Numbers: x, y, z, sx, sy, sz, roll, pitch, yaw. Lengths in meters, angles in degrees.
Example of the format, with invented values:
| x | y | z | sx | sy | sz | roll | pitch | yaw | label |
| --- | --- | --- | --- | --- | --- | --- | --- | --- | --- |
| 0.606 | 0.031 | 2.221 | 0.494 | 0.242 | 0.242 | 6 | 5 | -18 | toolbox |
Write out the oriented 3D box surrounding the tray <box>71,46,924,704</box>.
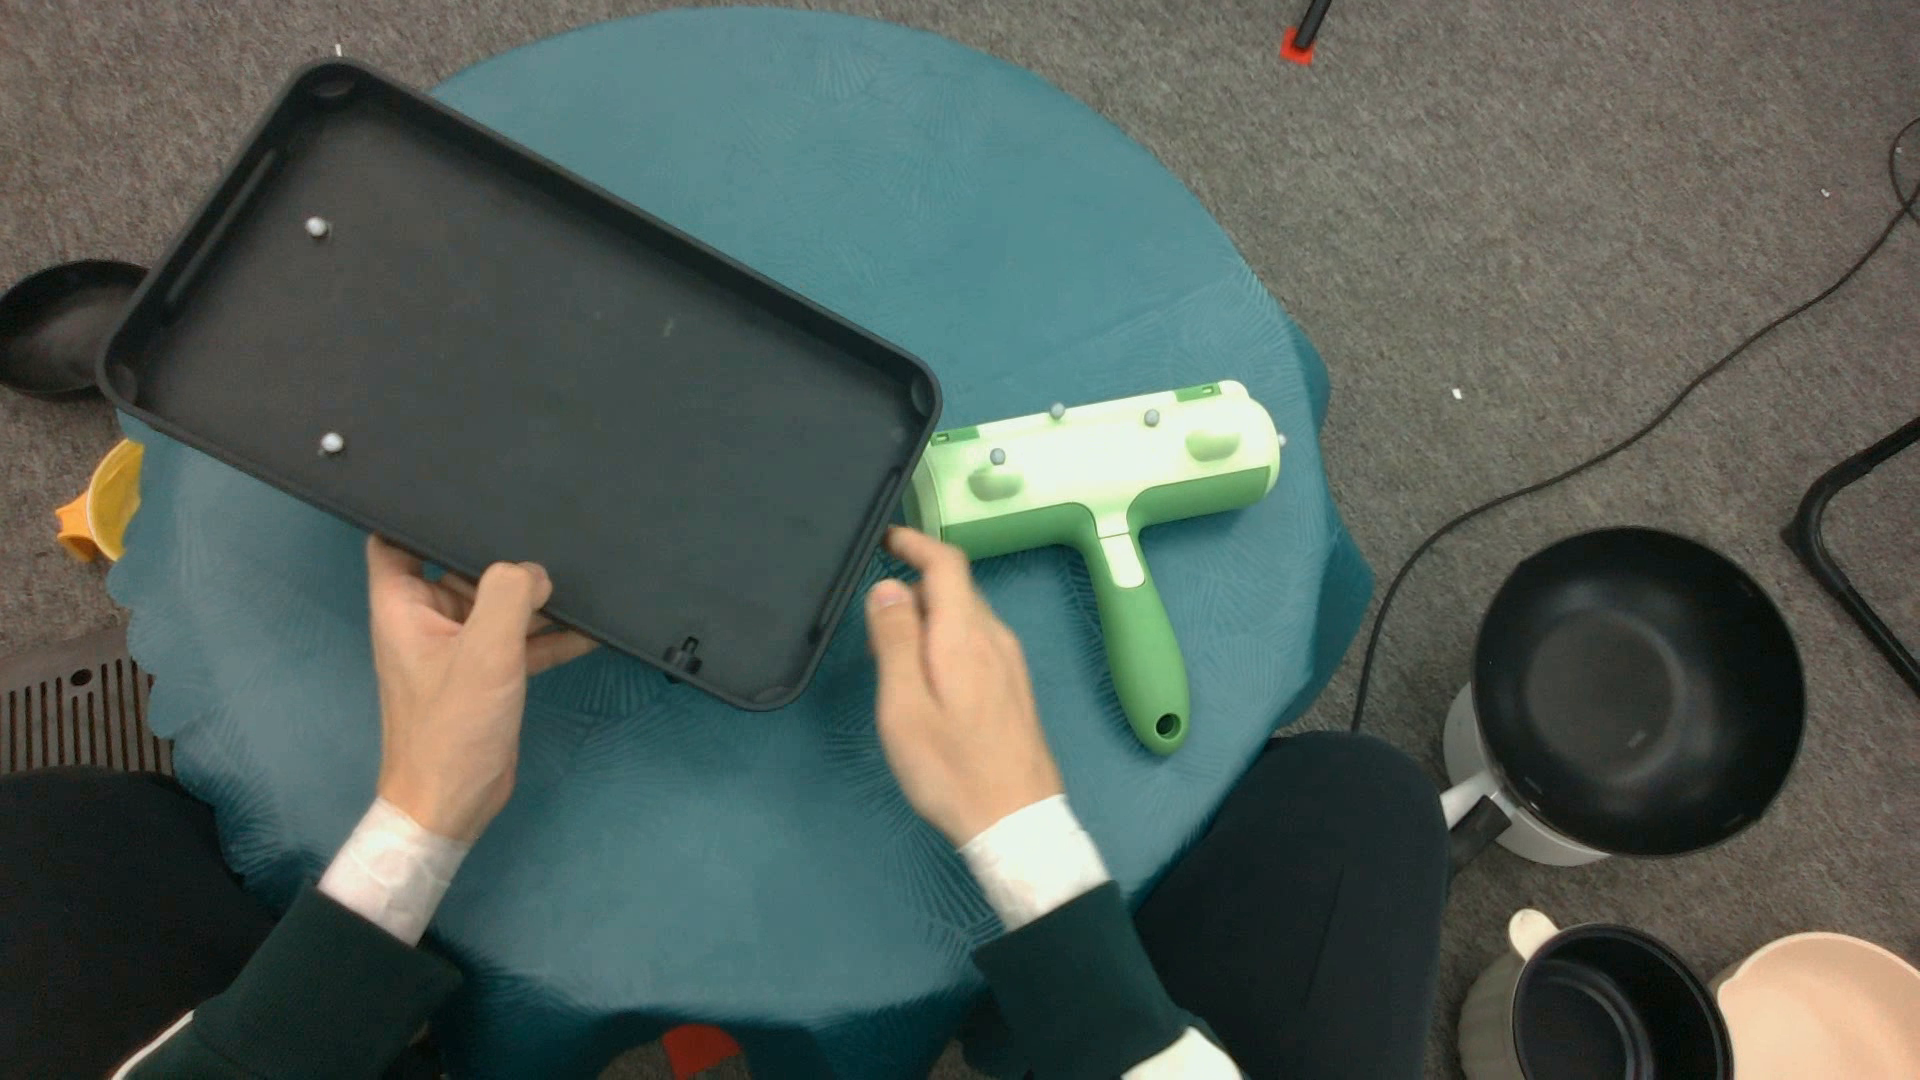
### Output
| x | y | z | sx | sy | sz | roll | pitch | yaw | label |
| --- | --- | --- | --- | --- | --- | --- | --- | --- | --- |
| -0.190 | -0.069 | 0.609 | 0.318 | 0.037 | 0.185 | 27 | 73 | -8 | tray |

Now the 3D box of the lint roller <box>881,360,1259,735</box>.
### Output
| x | y | z | sx | sy | sz | roll | pitch | yaw | label |
| --- | --- | --- | --- | --- | --- | --- | --- | --- | --- |
| 0.074 | 0.001 | 0.686 | 0.199 | 0.082 | 0.184 | -12 | 65 | -14 | lint roller |
